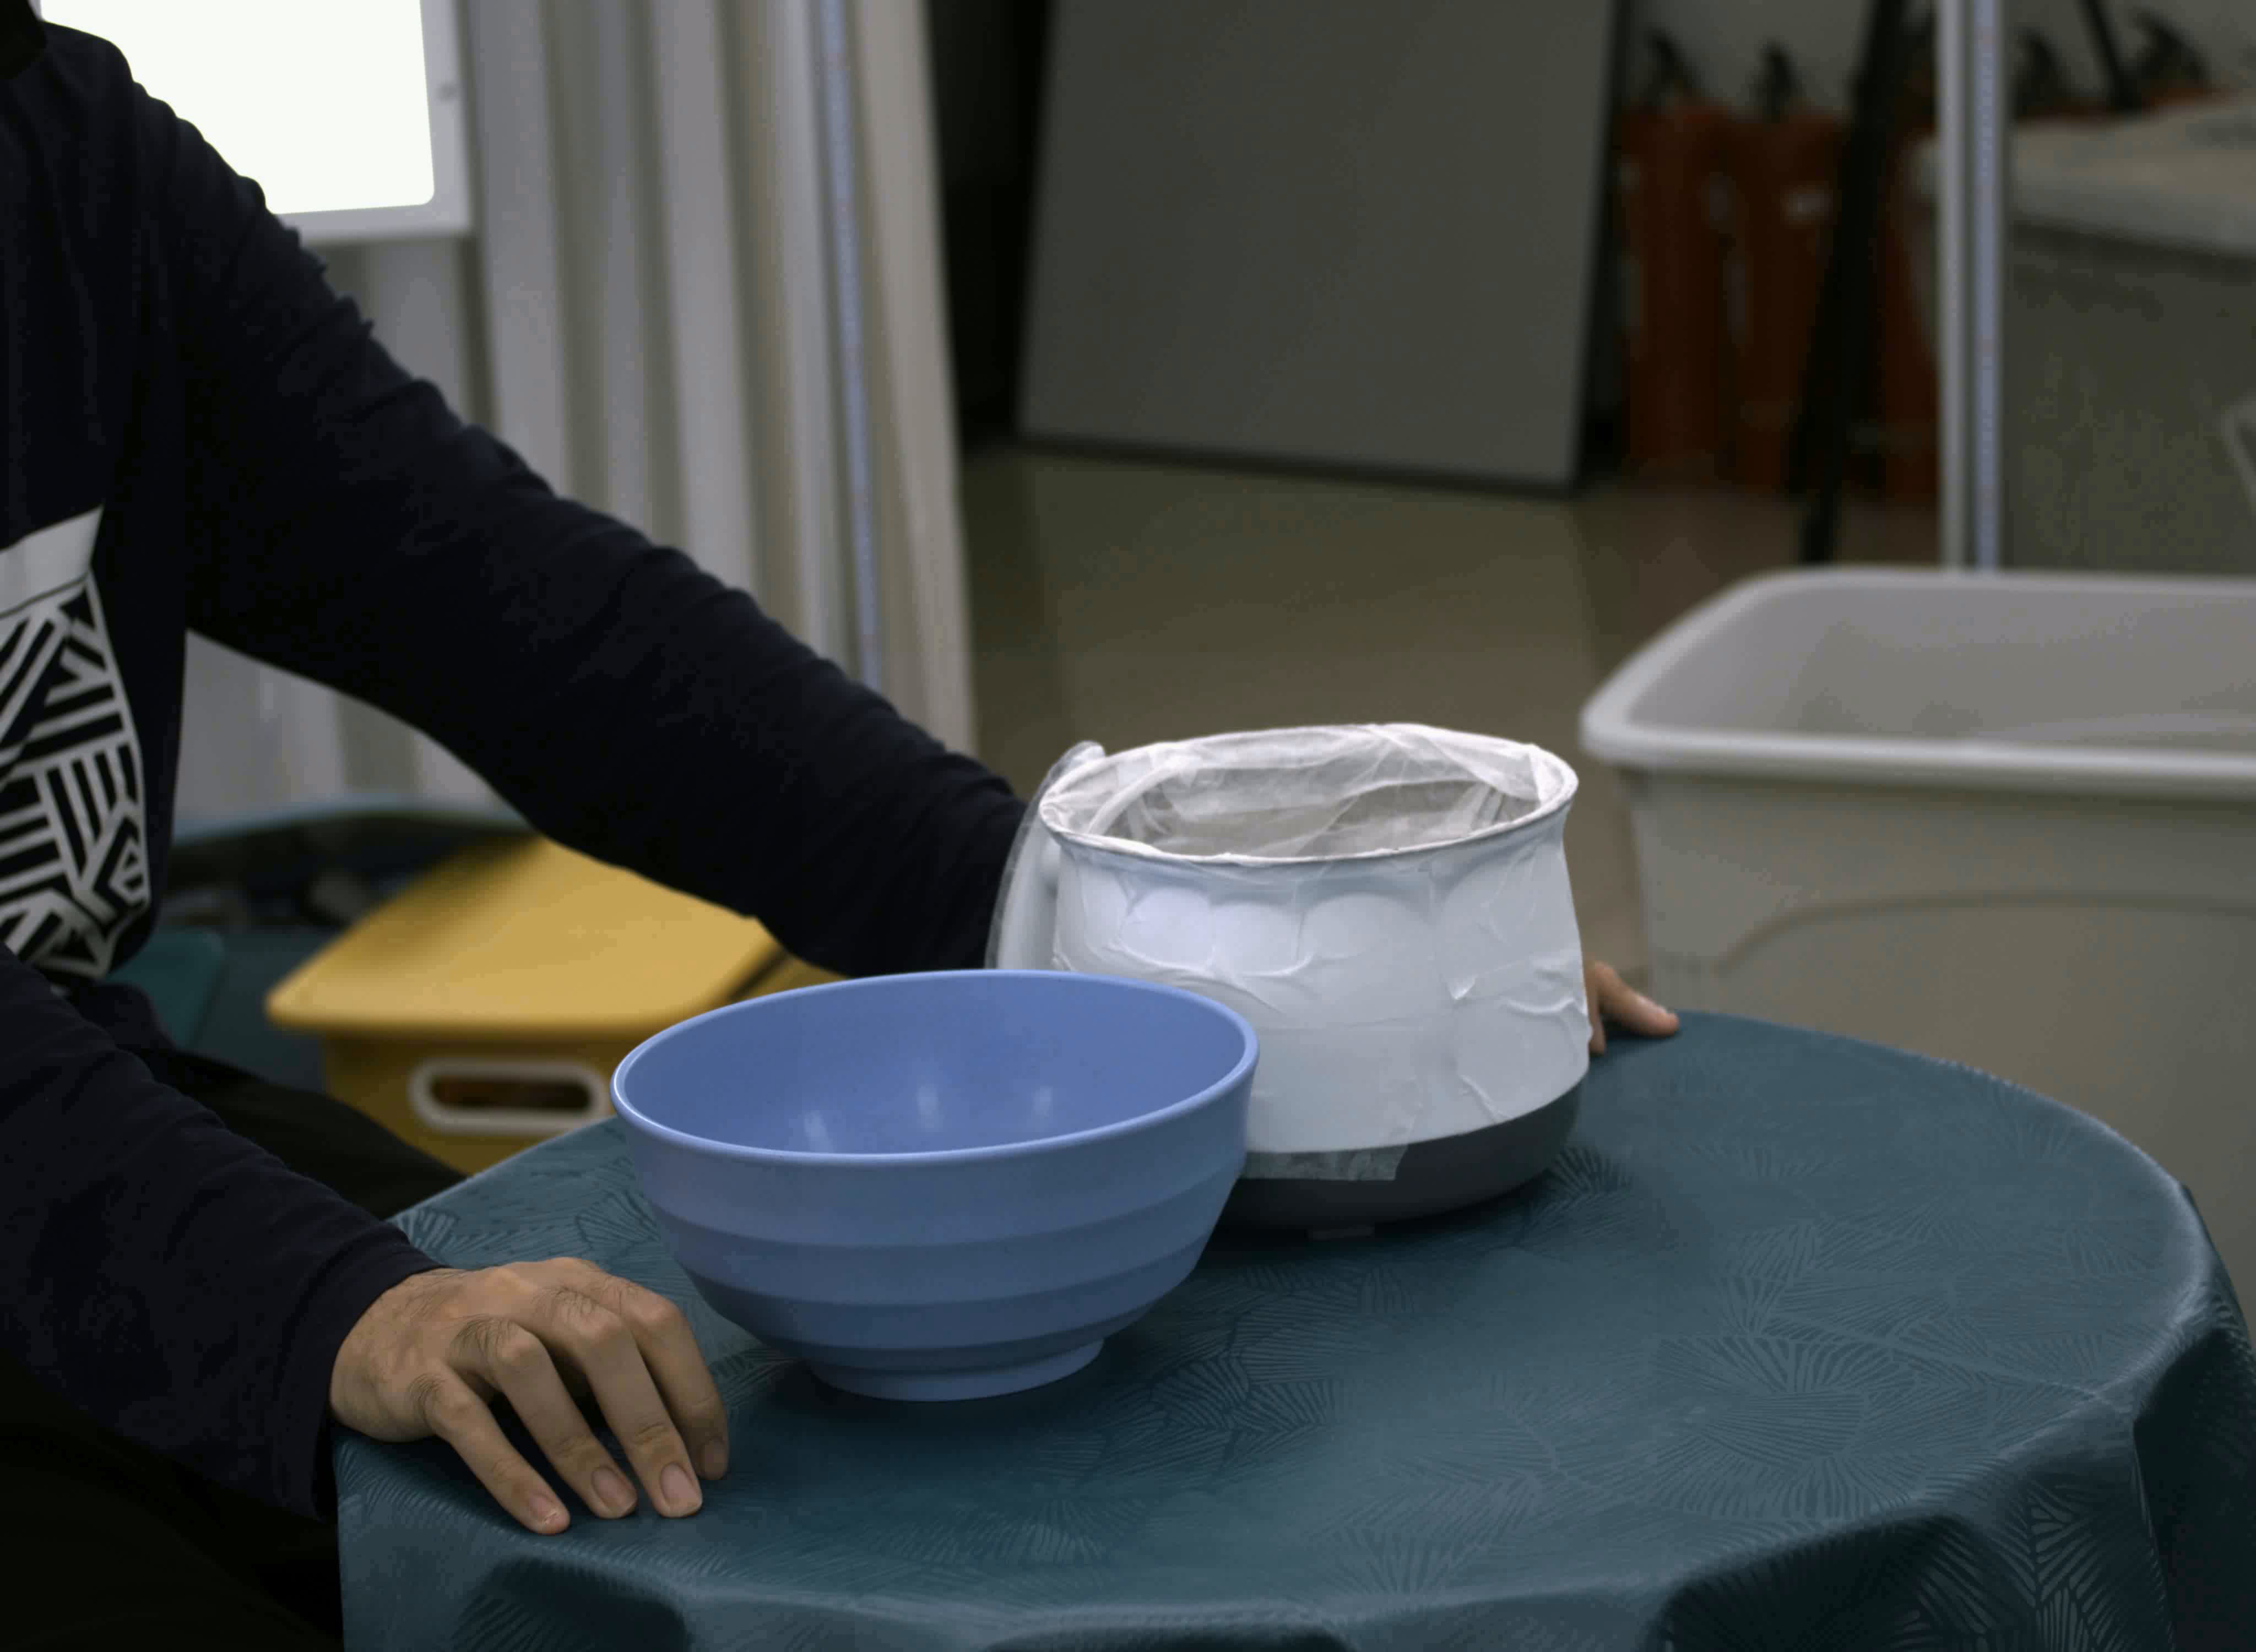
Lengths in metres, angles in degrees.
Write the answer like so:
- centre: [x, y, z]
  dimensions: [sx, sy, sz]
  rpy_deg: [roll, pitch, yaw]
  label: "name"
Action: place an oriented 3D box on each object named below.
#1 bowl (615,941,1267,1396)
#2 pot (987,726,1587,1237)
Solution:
- centre: [-0.055, 0.109, 1.620]
  dimensions: [0.194, 0.096, 0.197]
  rpy_deg: [-2, 17, 0]
  label: "bowl"
- centre: [0.042, 0.045, 1.781]
  dimensions: [0.236, 0.138, 0.175]
  rpy_deg: [9, 16, 41]
  label: "pot"
